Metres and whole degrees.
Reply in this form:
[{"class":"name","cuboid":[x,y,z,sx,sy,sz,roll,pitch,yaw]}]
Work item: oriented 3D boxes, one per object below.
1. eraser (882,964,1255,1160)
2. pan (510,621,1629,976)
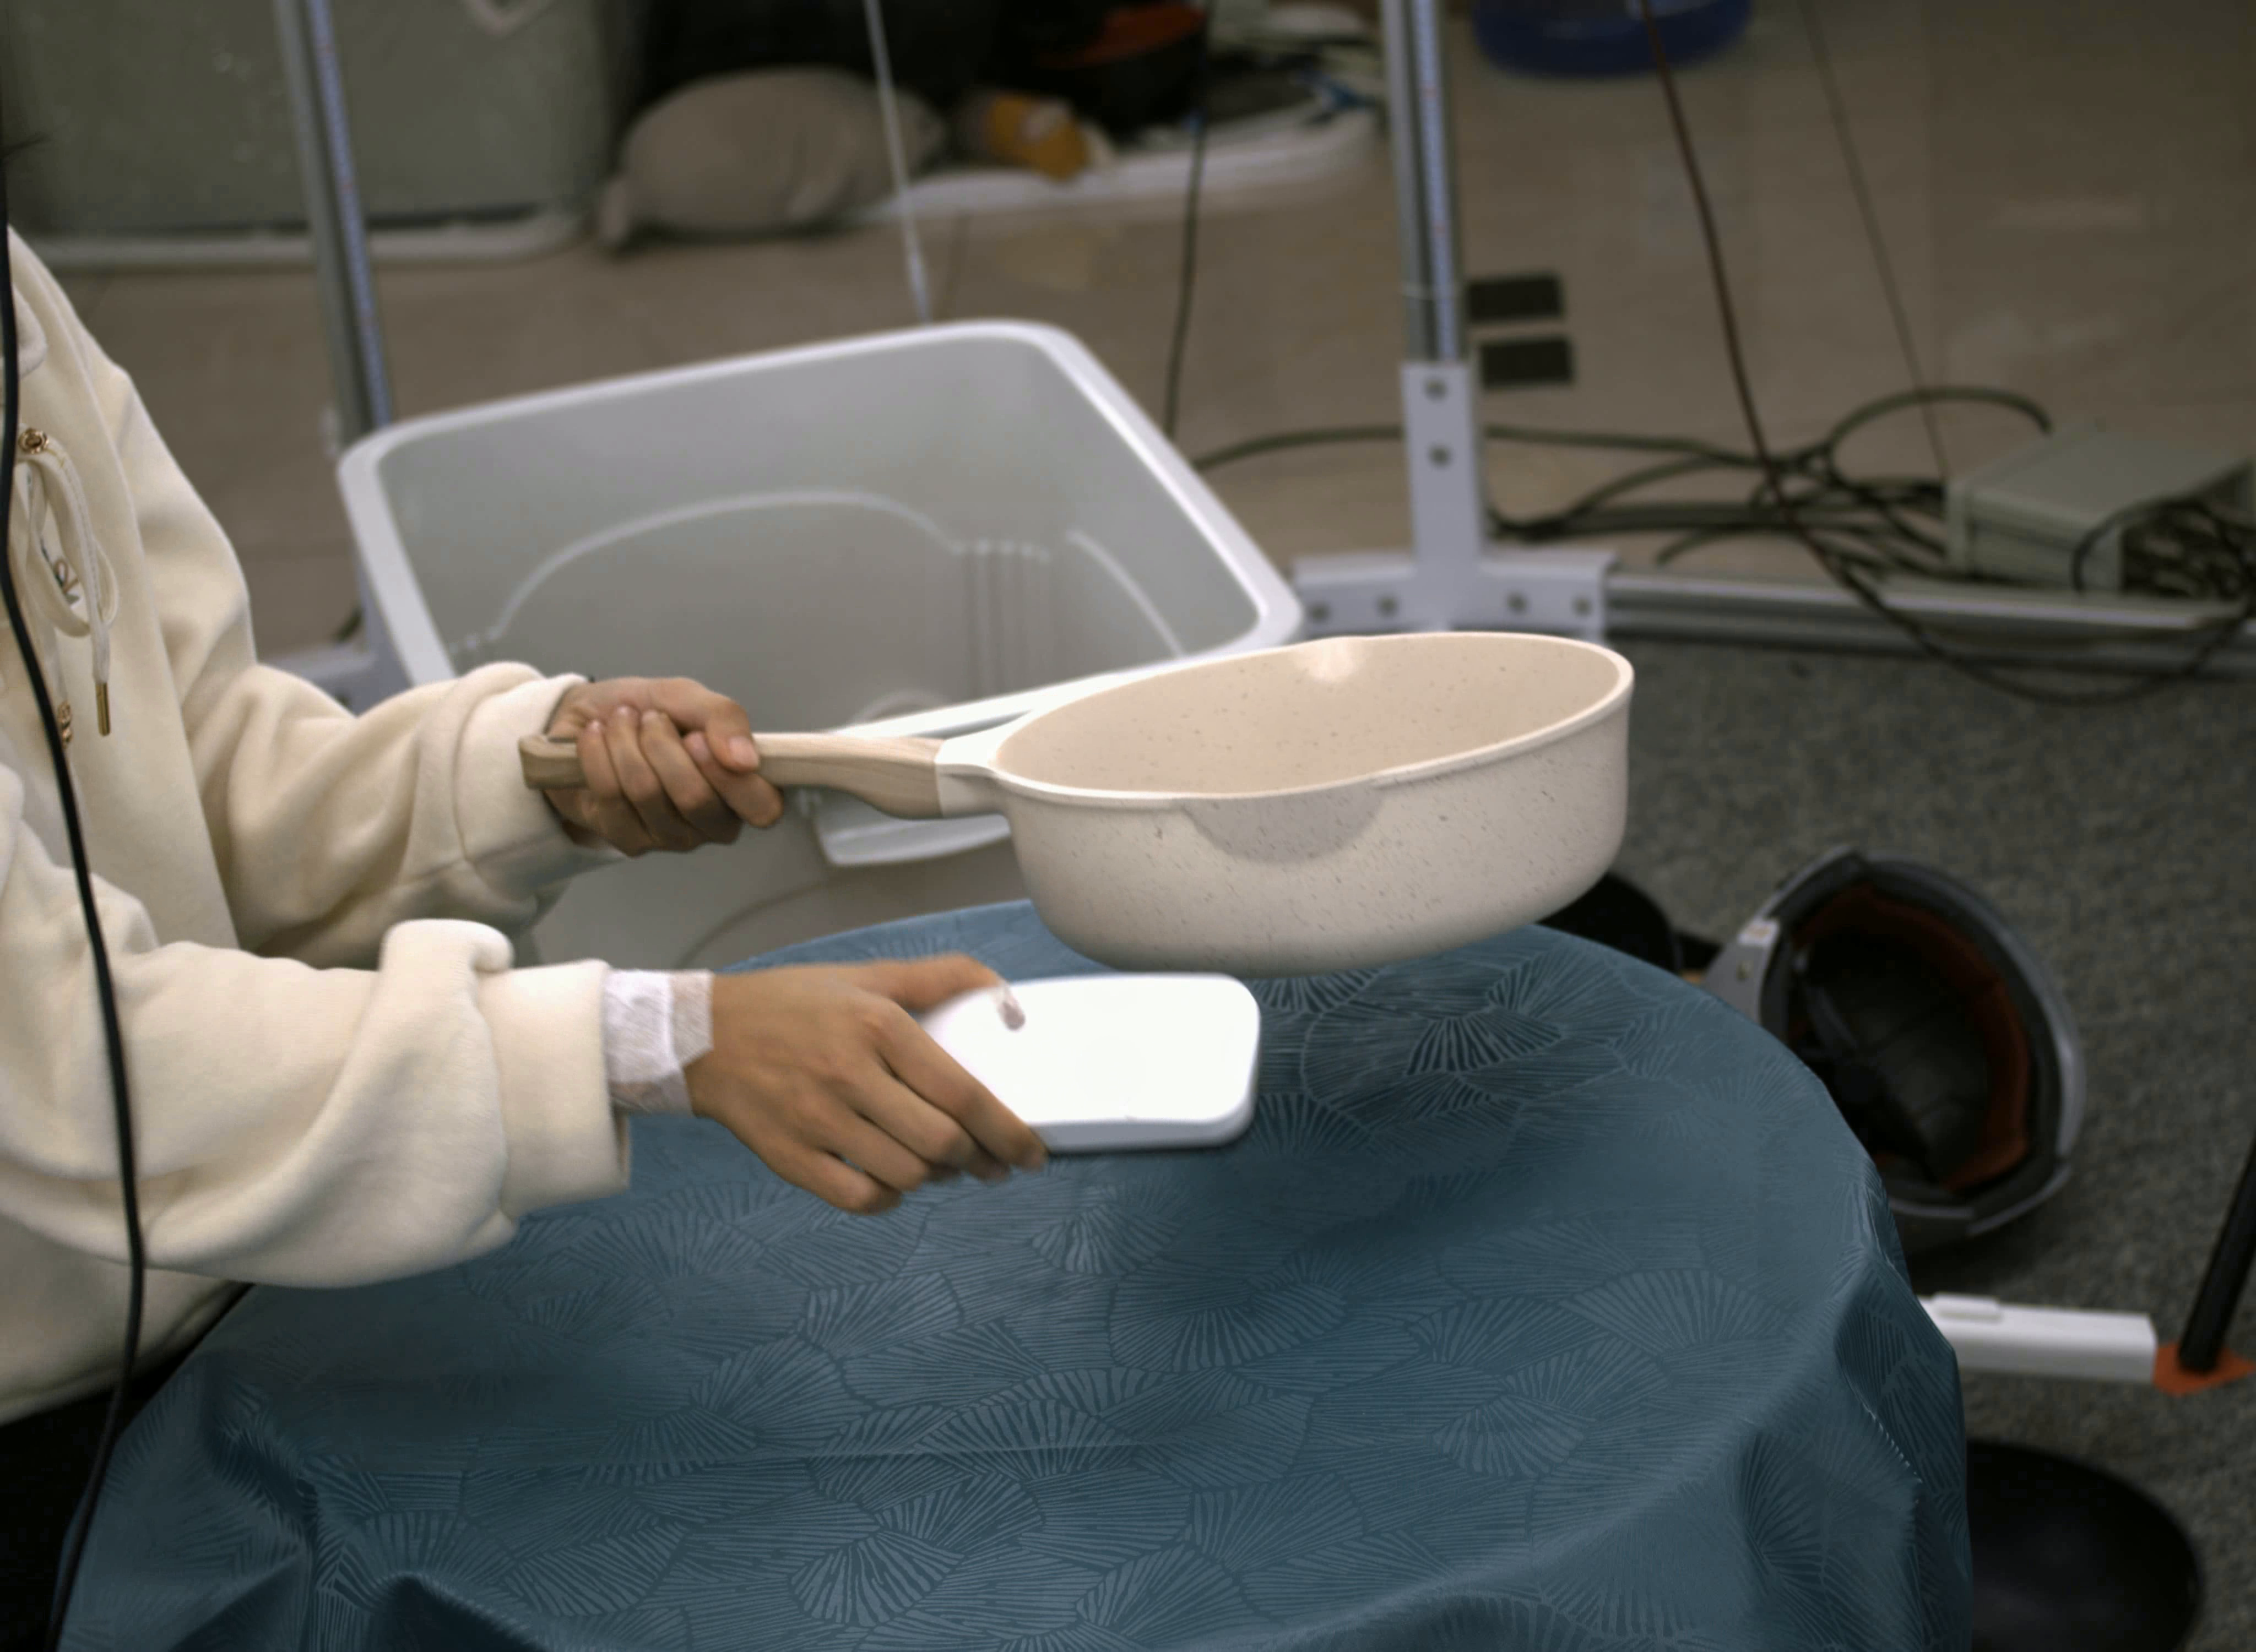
[{"class":"eraser","cuboid":[-0.021,0.082,1.992,0.131,0.035,0.062,-4,51,19]},{"class":"pan","cuboid":[-0.019,-0.007,2.191,0.434,0.103,0.261,-6,15,7]}]
